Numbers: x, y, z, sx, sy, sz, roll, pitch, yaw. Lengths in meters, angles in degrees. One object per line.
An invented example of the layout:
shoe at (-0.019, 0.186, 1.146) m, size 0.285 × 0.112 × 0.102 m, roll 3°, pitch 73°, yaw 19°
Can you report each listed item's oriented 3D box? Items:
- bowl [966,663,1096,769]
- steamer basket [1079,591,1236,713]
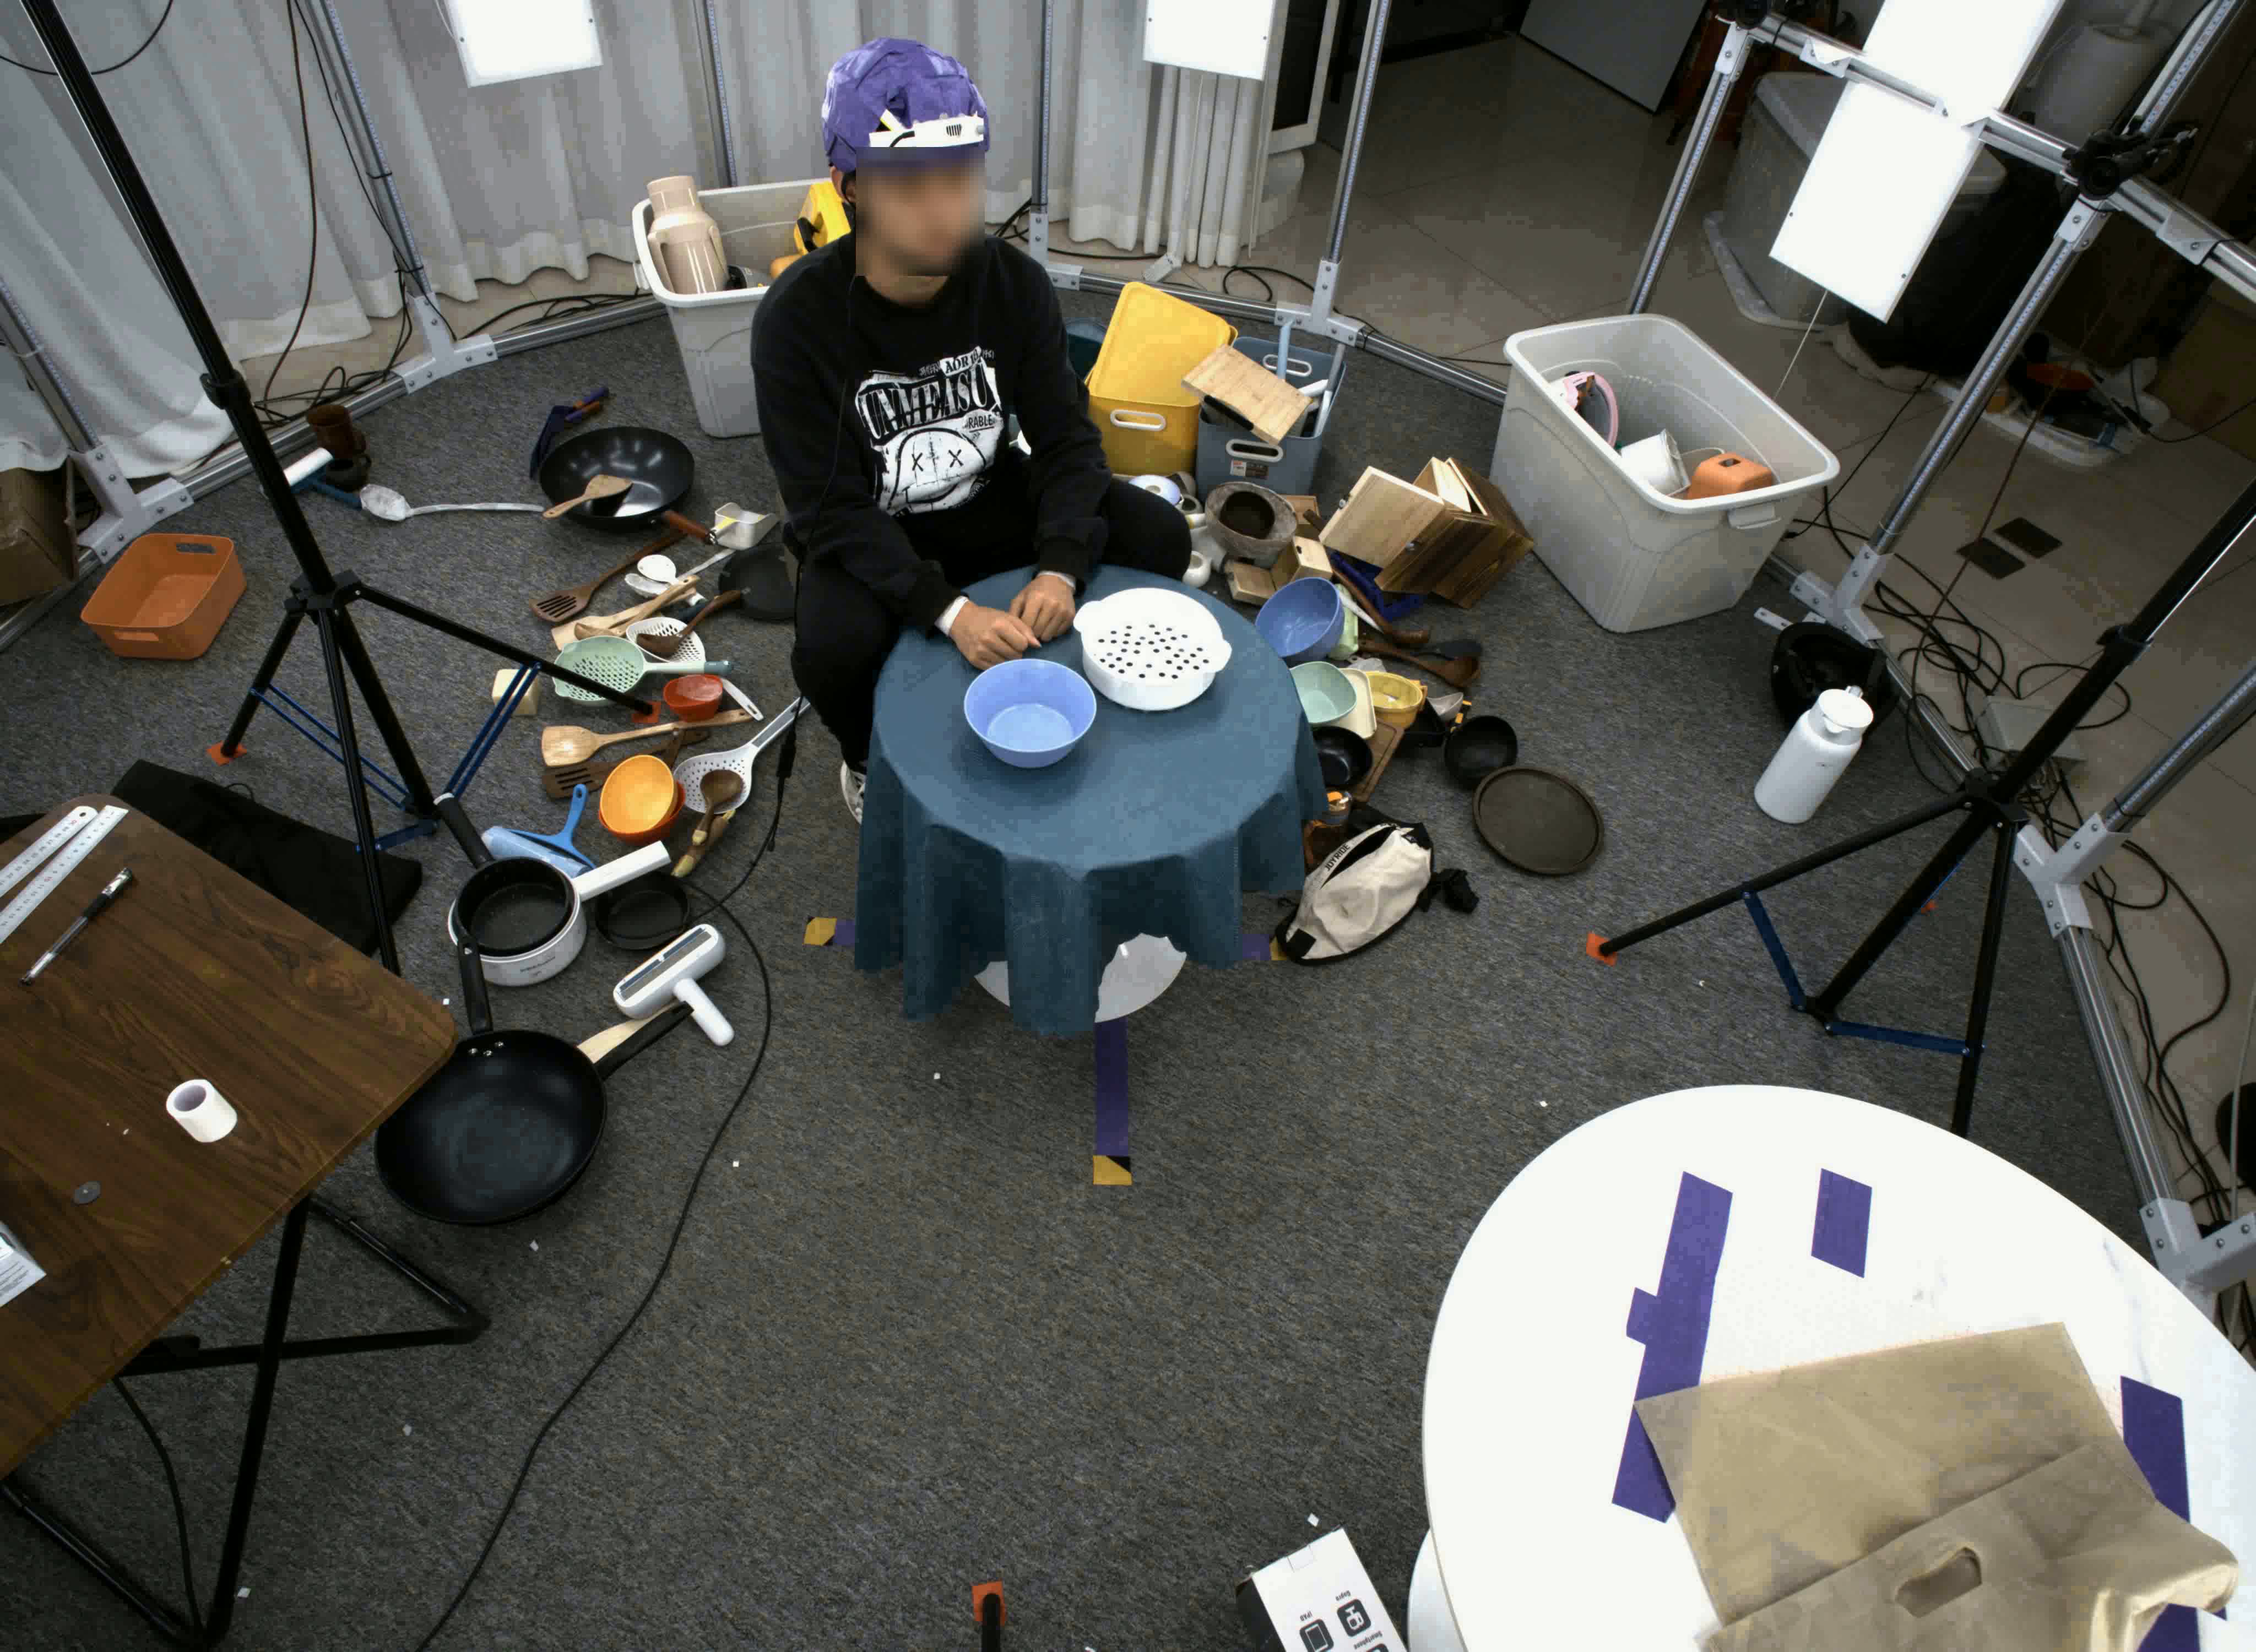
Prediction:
bowl at (-0.133, -0.141, 1.752) m, size 0.176 × 0.068 × 0.180 m, roll 2°, pitch 48°, yaw -3°
steamer basket at (0.039, -0.251, 1.861) m, size 0.231 × 0.067 × 0.206 m, roll 20°, pitch 51°, yaw 10°
